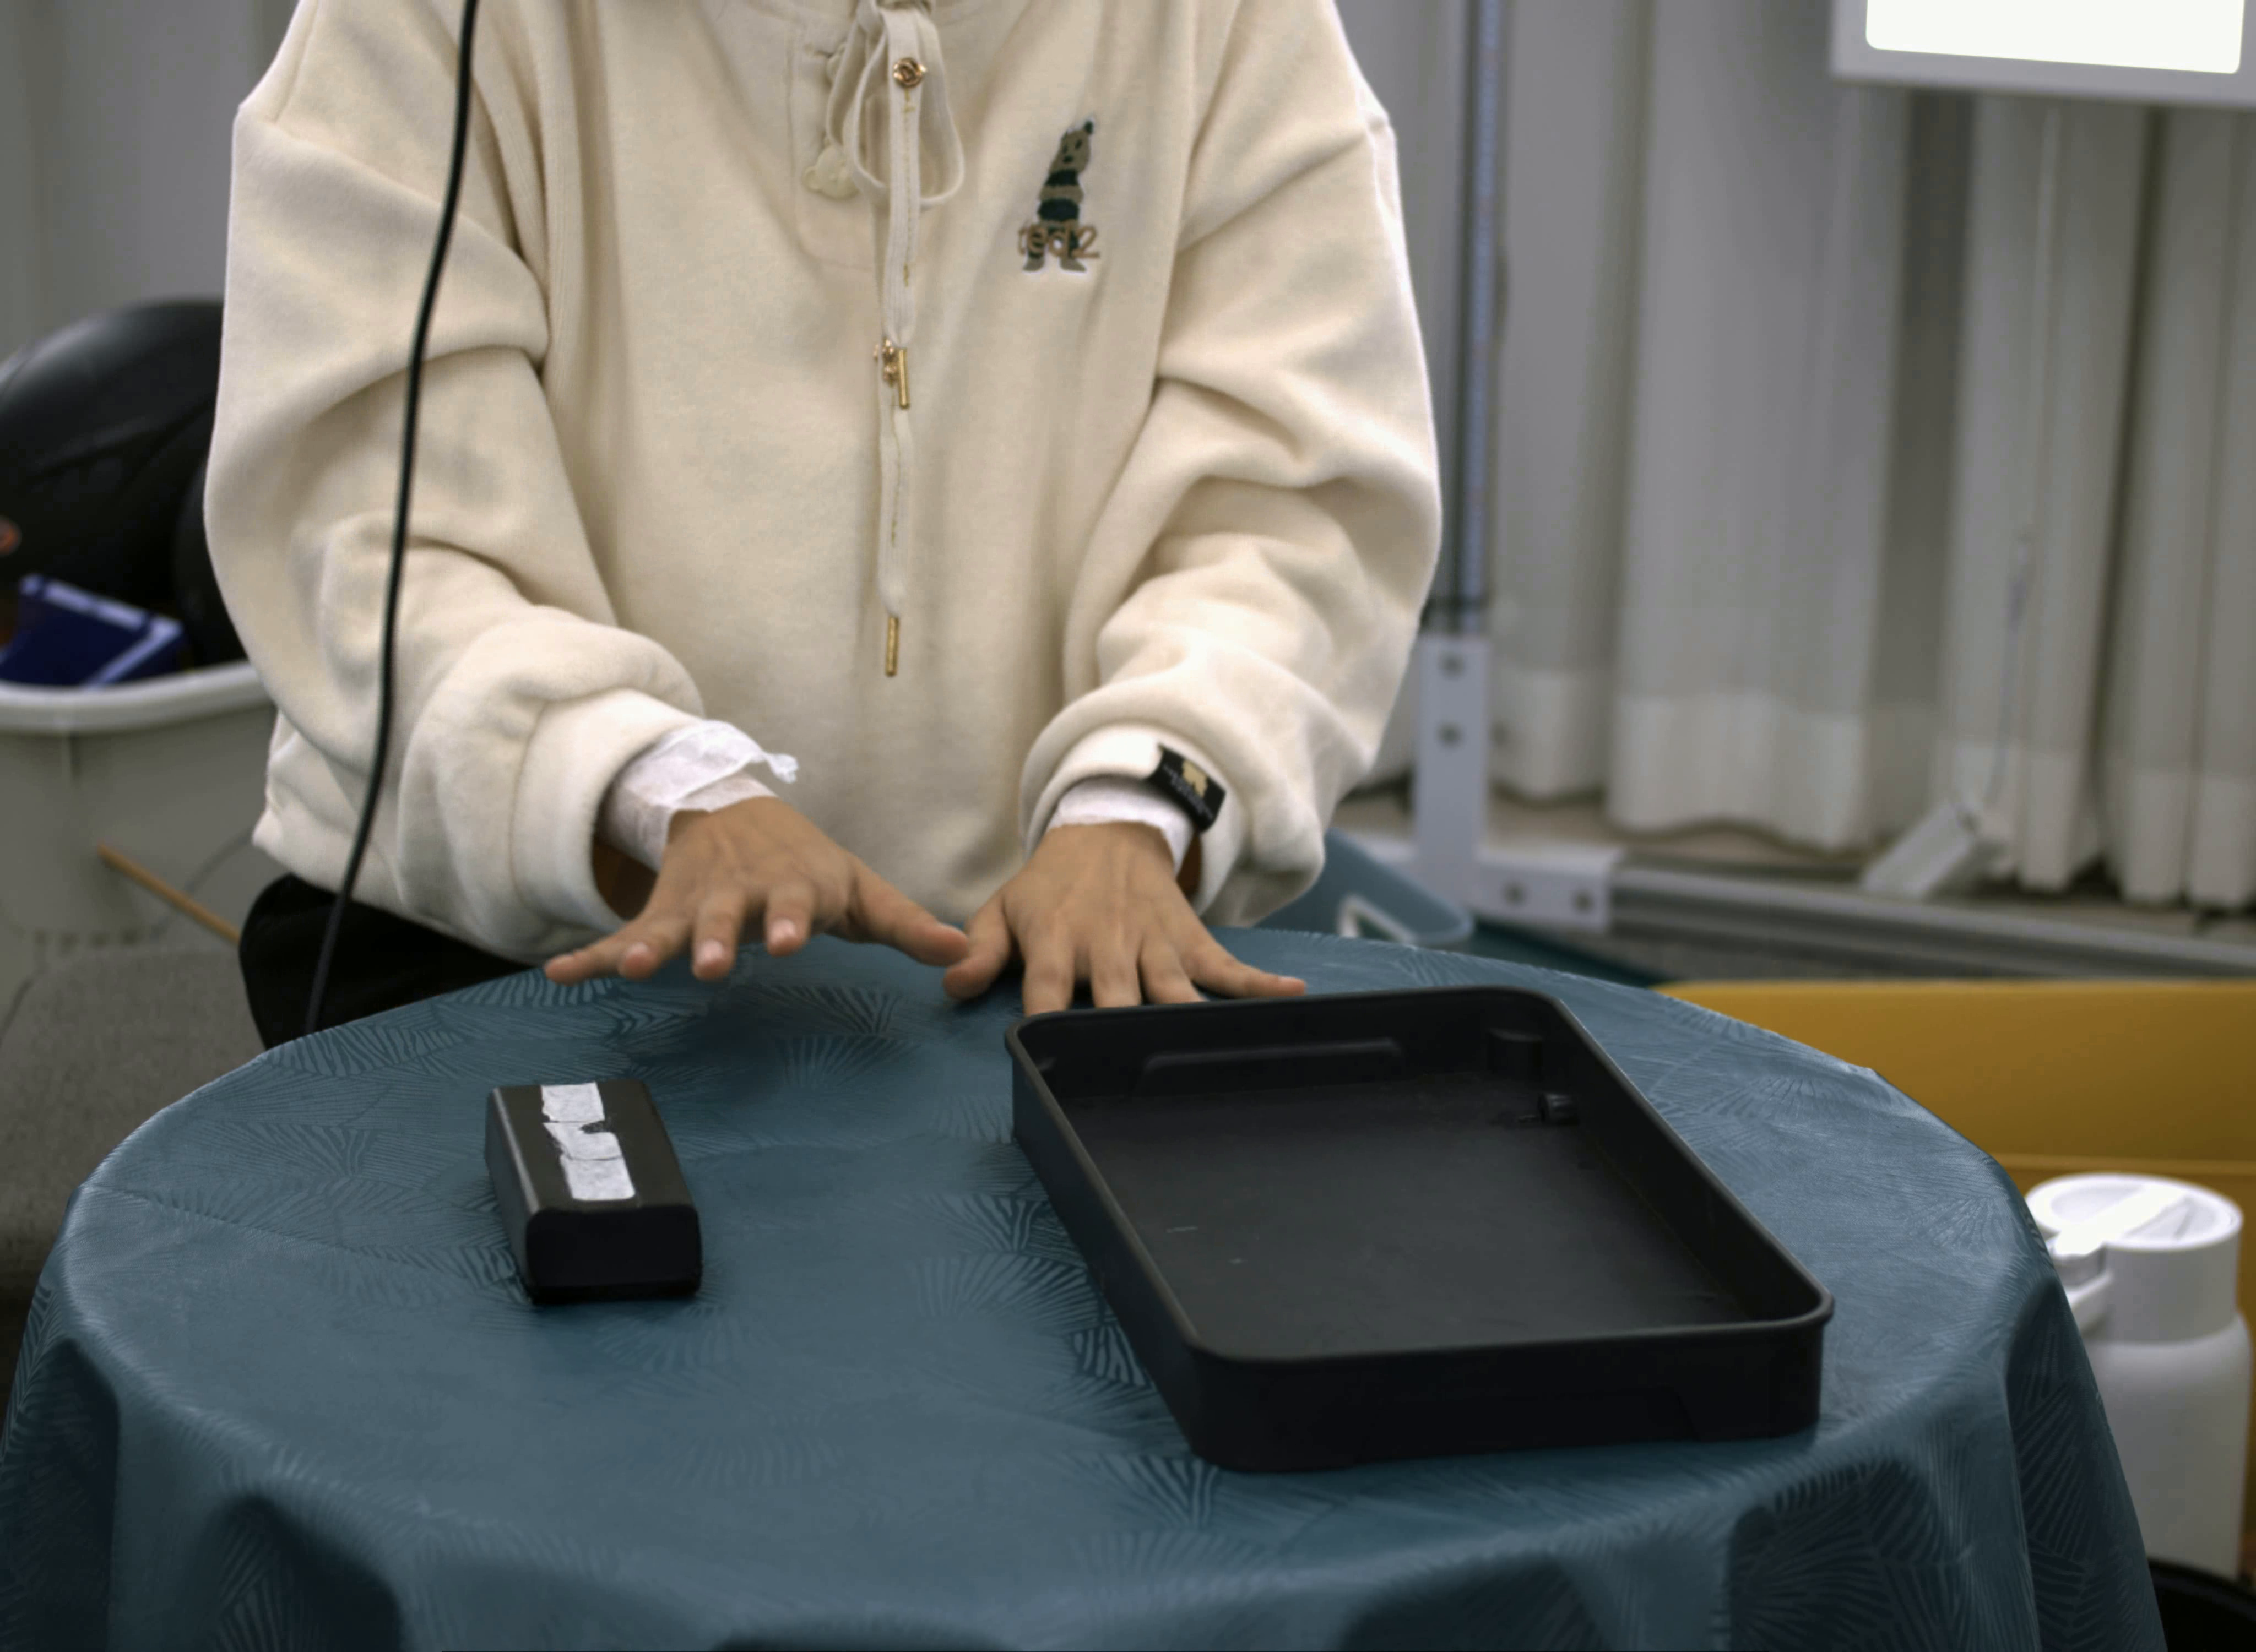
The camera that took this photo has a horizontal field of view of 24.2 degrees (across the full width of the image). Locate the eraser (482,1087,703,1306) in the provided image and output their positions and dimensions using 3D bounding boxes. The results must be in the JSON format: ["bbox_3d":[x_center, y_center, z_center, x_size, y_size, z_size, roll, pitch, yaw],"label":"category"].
[{"bbox_3d":[-0.161,0.110,1.574,0.053,0.030,0.124,1,15,-13],"label":"eraser"}]

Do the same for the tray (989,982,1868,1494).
[{"bbox_3d":[0.079,0.114,1.546,0.184,0.037,0.315,-3,16,-14],"label":"tray"}]
